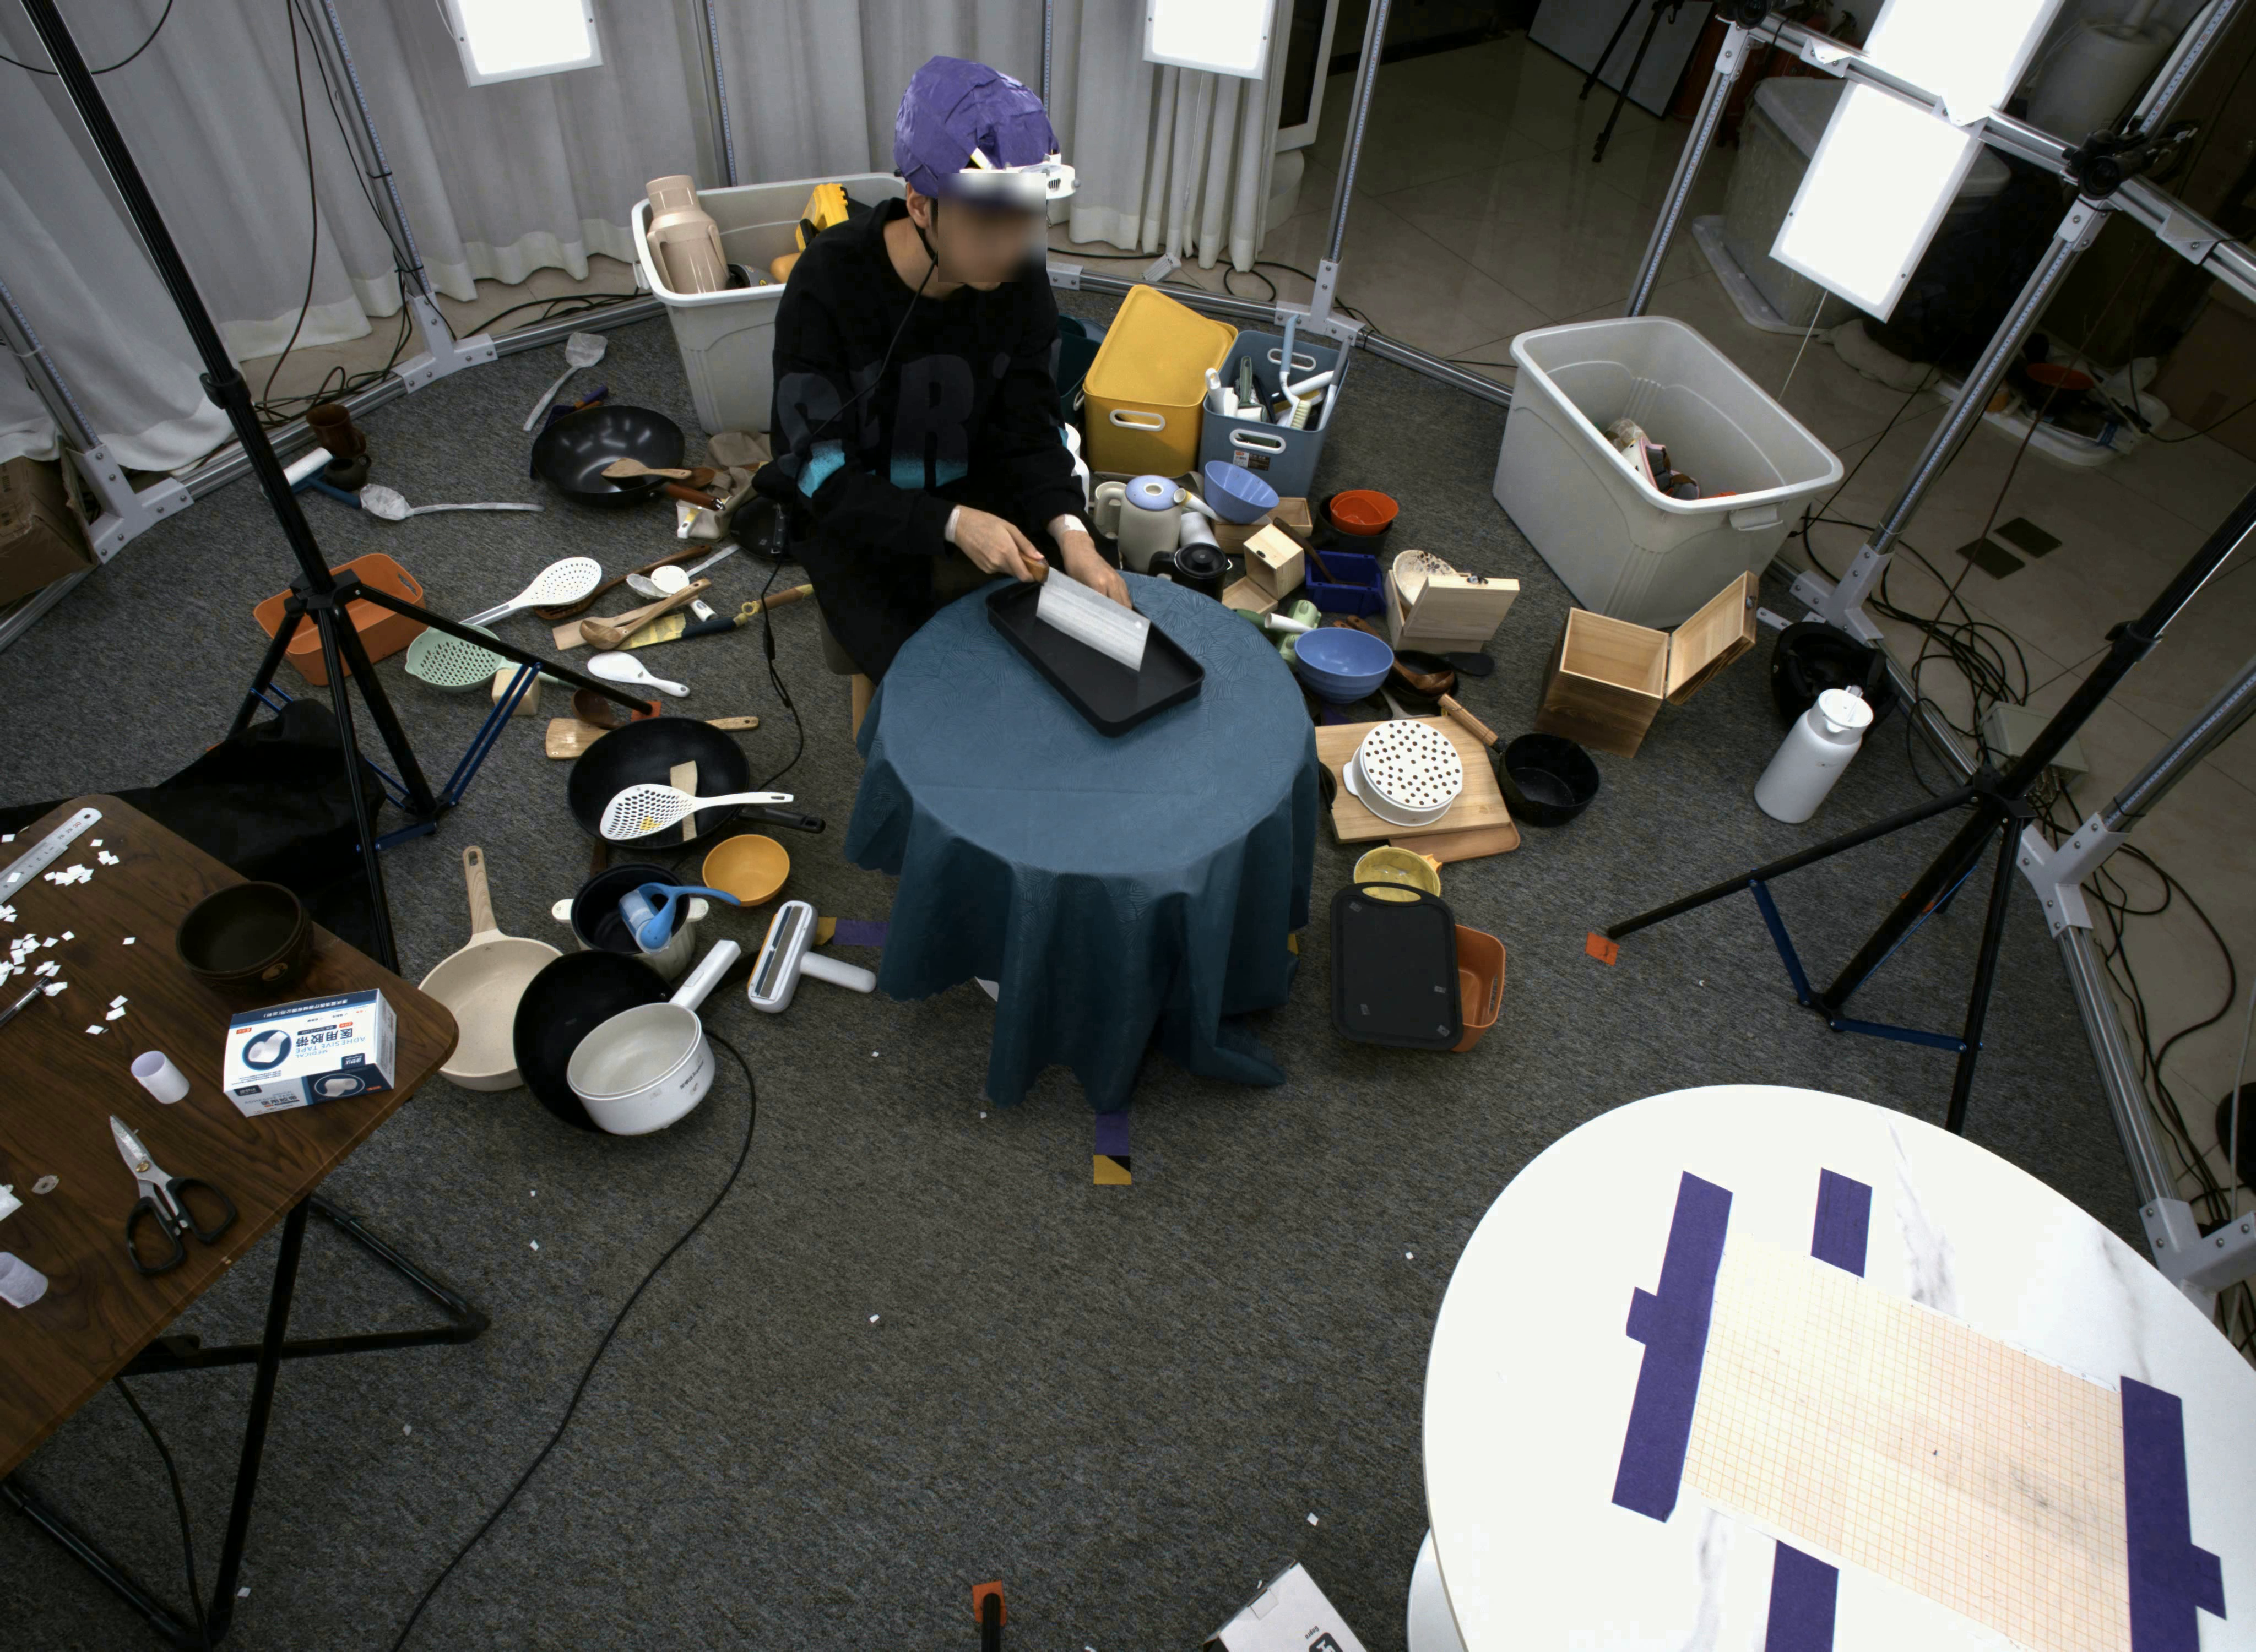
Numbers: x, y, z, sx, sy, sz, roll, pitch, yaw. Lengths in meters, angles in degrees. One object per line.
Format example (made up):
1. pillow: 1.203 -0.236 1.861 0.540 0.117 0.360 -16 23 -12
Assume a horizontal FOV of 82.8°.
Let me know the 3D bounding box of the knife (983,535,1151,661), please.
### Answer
1. knife: -0.094 -0.329 1.881 0.309 0.091 0.021 31 42 22

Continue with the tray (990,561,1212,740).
1. tray: -0.042 -0.261 1.869 0.185 0.036 0.323 -30 57 -26
